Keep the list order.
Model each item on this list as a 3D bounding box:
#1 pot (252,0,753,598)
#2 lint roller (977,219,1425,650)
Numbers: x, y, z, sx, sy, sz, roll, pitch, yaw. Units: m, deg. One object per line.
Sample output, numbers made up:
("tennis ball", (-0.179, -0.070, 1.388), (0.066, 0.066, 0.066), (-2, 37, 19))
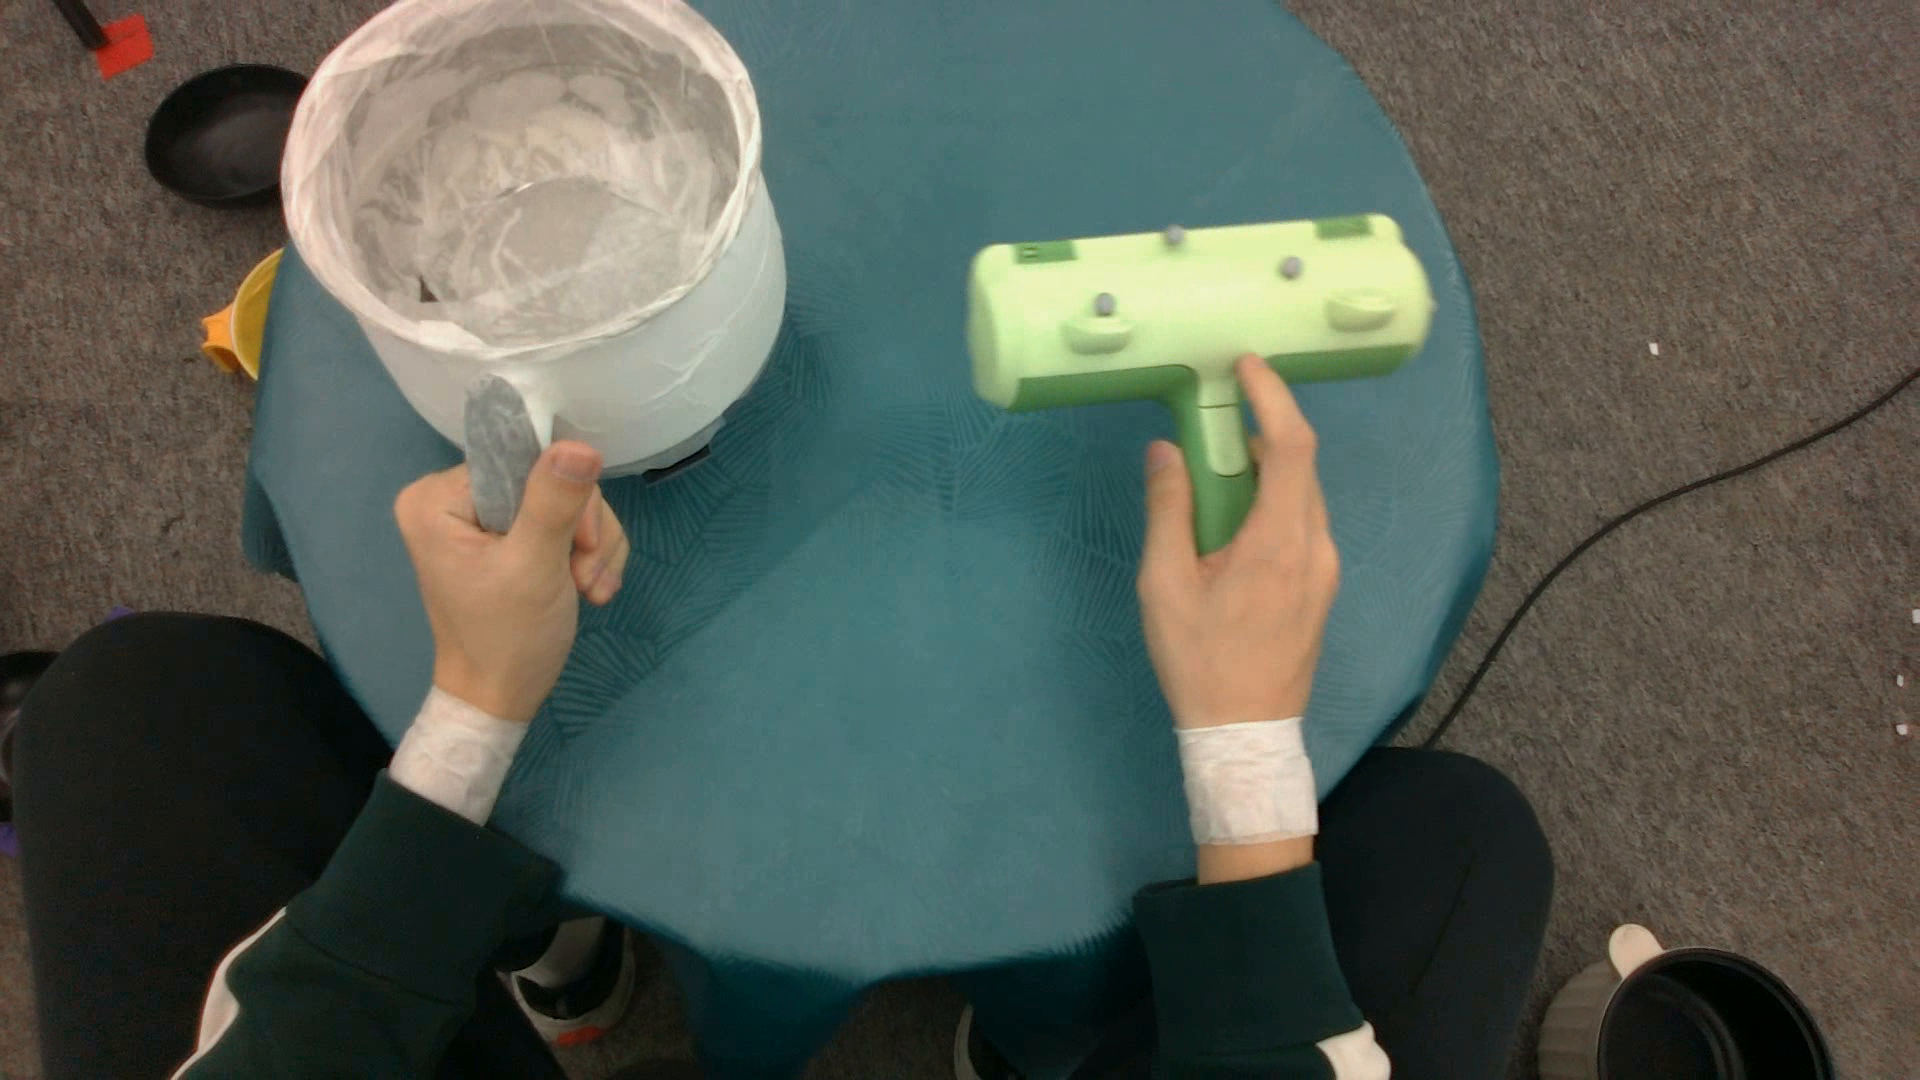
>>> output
("pot", (-0.179, -0.100, 0.574), (0.179, 0.136, 0.234), (-2, 68, -2))
("lint roller", (0.114, -0.047, 0.588), (0.199, 0.082, 0.183), (-5, 80, -13))
